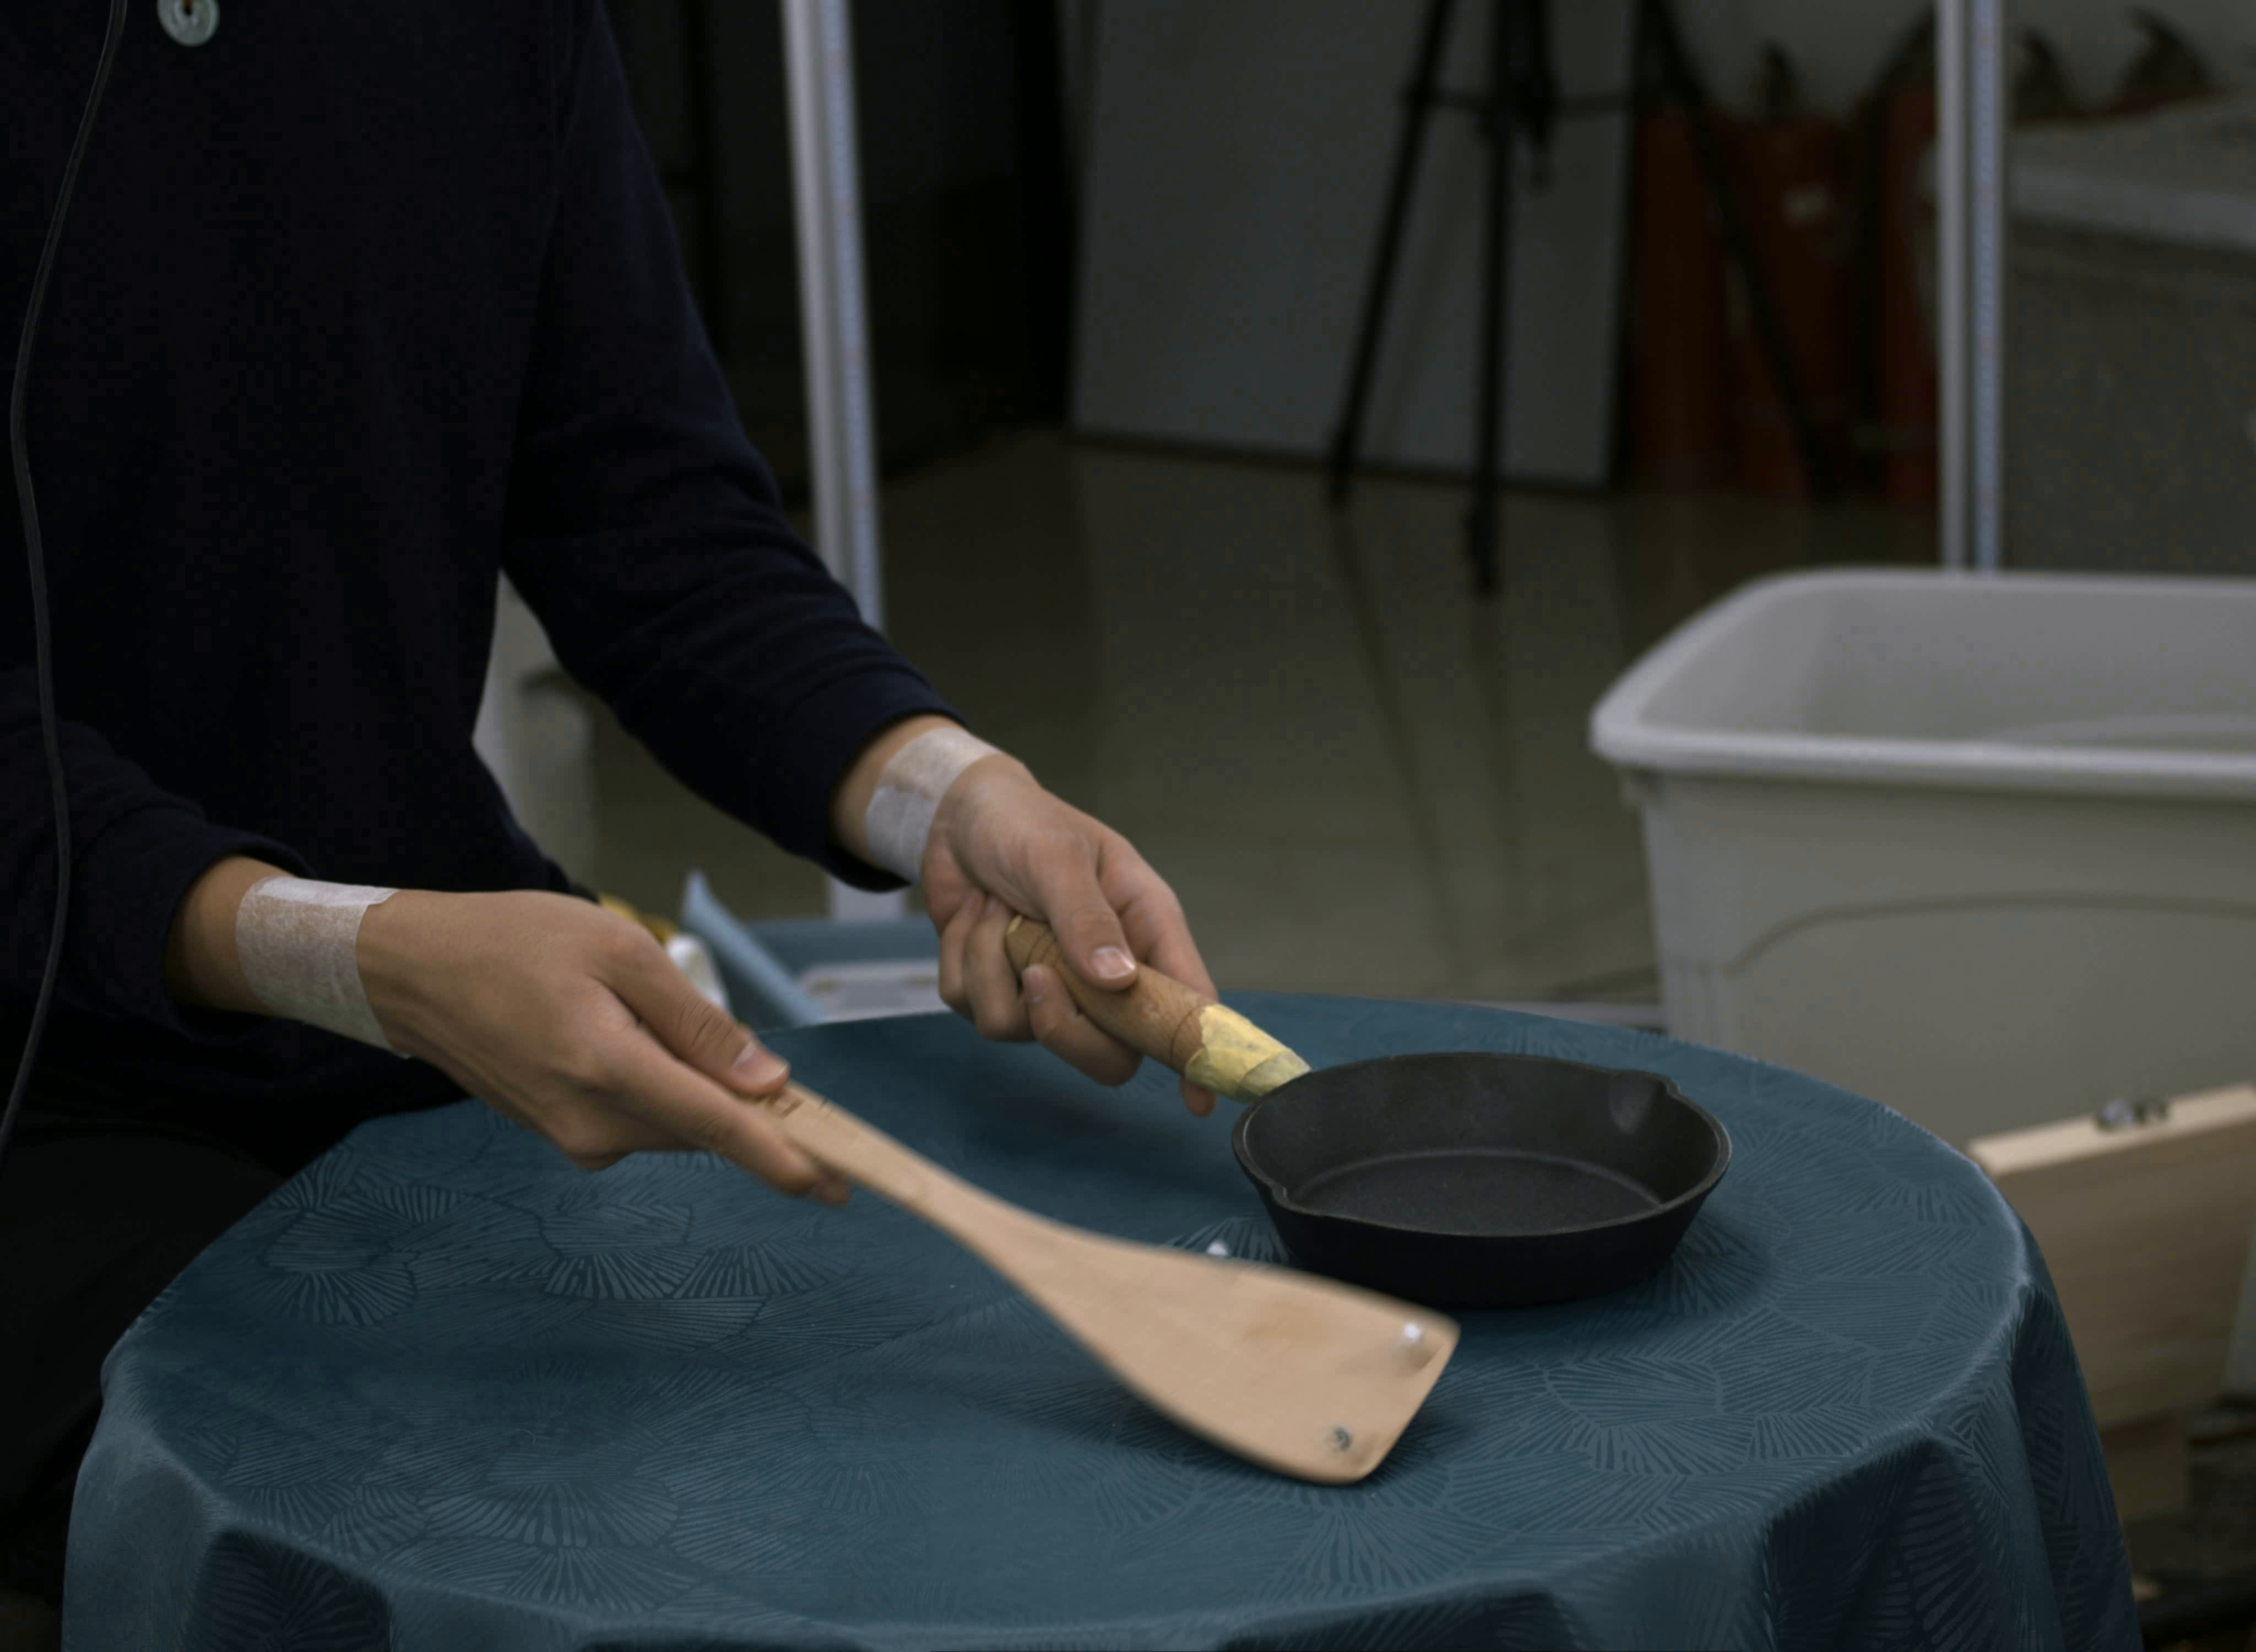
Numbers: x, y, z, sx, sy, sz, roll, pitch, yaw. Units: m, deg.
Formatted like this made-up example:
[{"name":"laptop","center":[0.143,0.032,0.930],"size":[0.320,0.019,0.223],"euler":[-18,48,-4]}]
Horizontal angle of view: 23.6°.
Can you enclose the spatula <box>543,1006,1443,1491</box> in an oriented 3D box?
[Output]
[{"name":"spatula","center":[-0.048,0.116,1.601],"size":[0.330,0.016,0.078],"euler":[25,37,30]}]

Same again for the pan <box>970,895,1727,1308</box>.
[{"name":"pan","center":[0.056,0.085,1.746],"size":[0.165,0.050,0.327],"euler":[-15,23,-37]}]
